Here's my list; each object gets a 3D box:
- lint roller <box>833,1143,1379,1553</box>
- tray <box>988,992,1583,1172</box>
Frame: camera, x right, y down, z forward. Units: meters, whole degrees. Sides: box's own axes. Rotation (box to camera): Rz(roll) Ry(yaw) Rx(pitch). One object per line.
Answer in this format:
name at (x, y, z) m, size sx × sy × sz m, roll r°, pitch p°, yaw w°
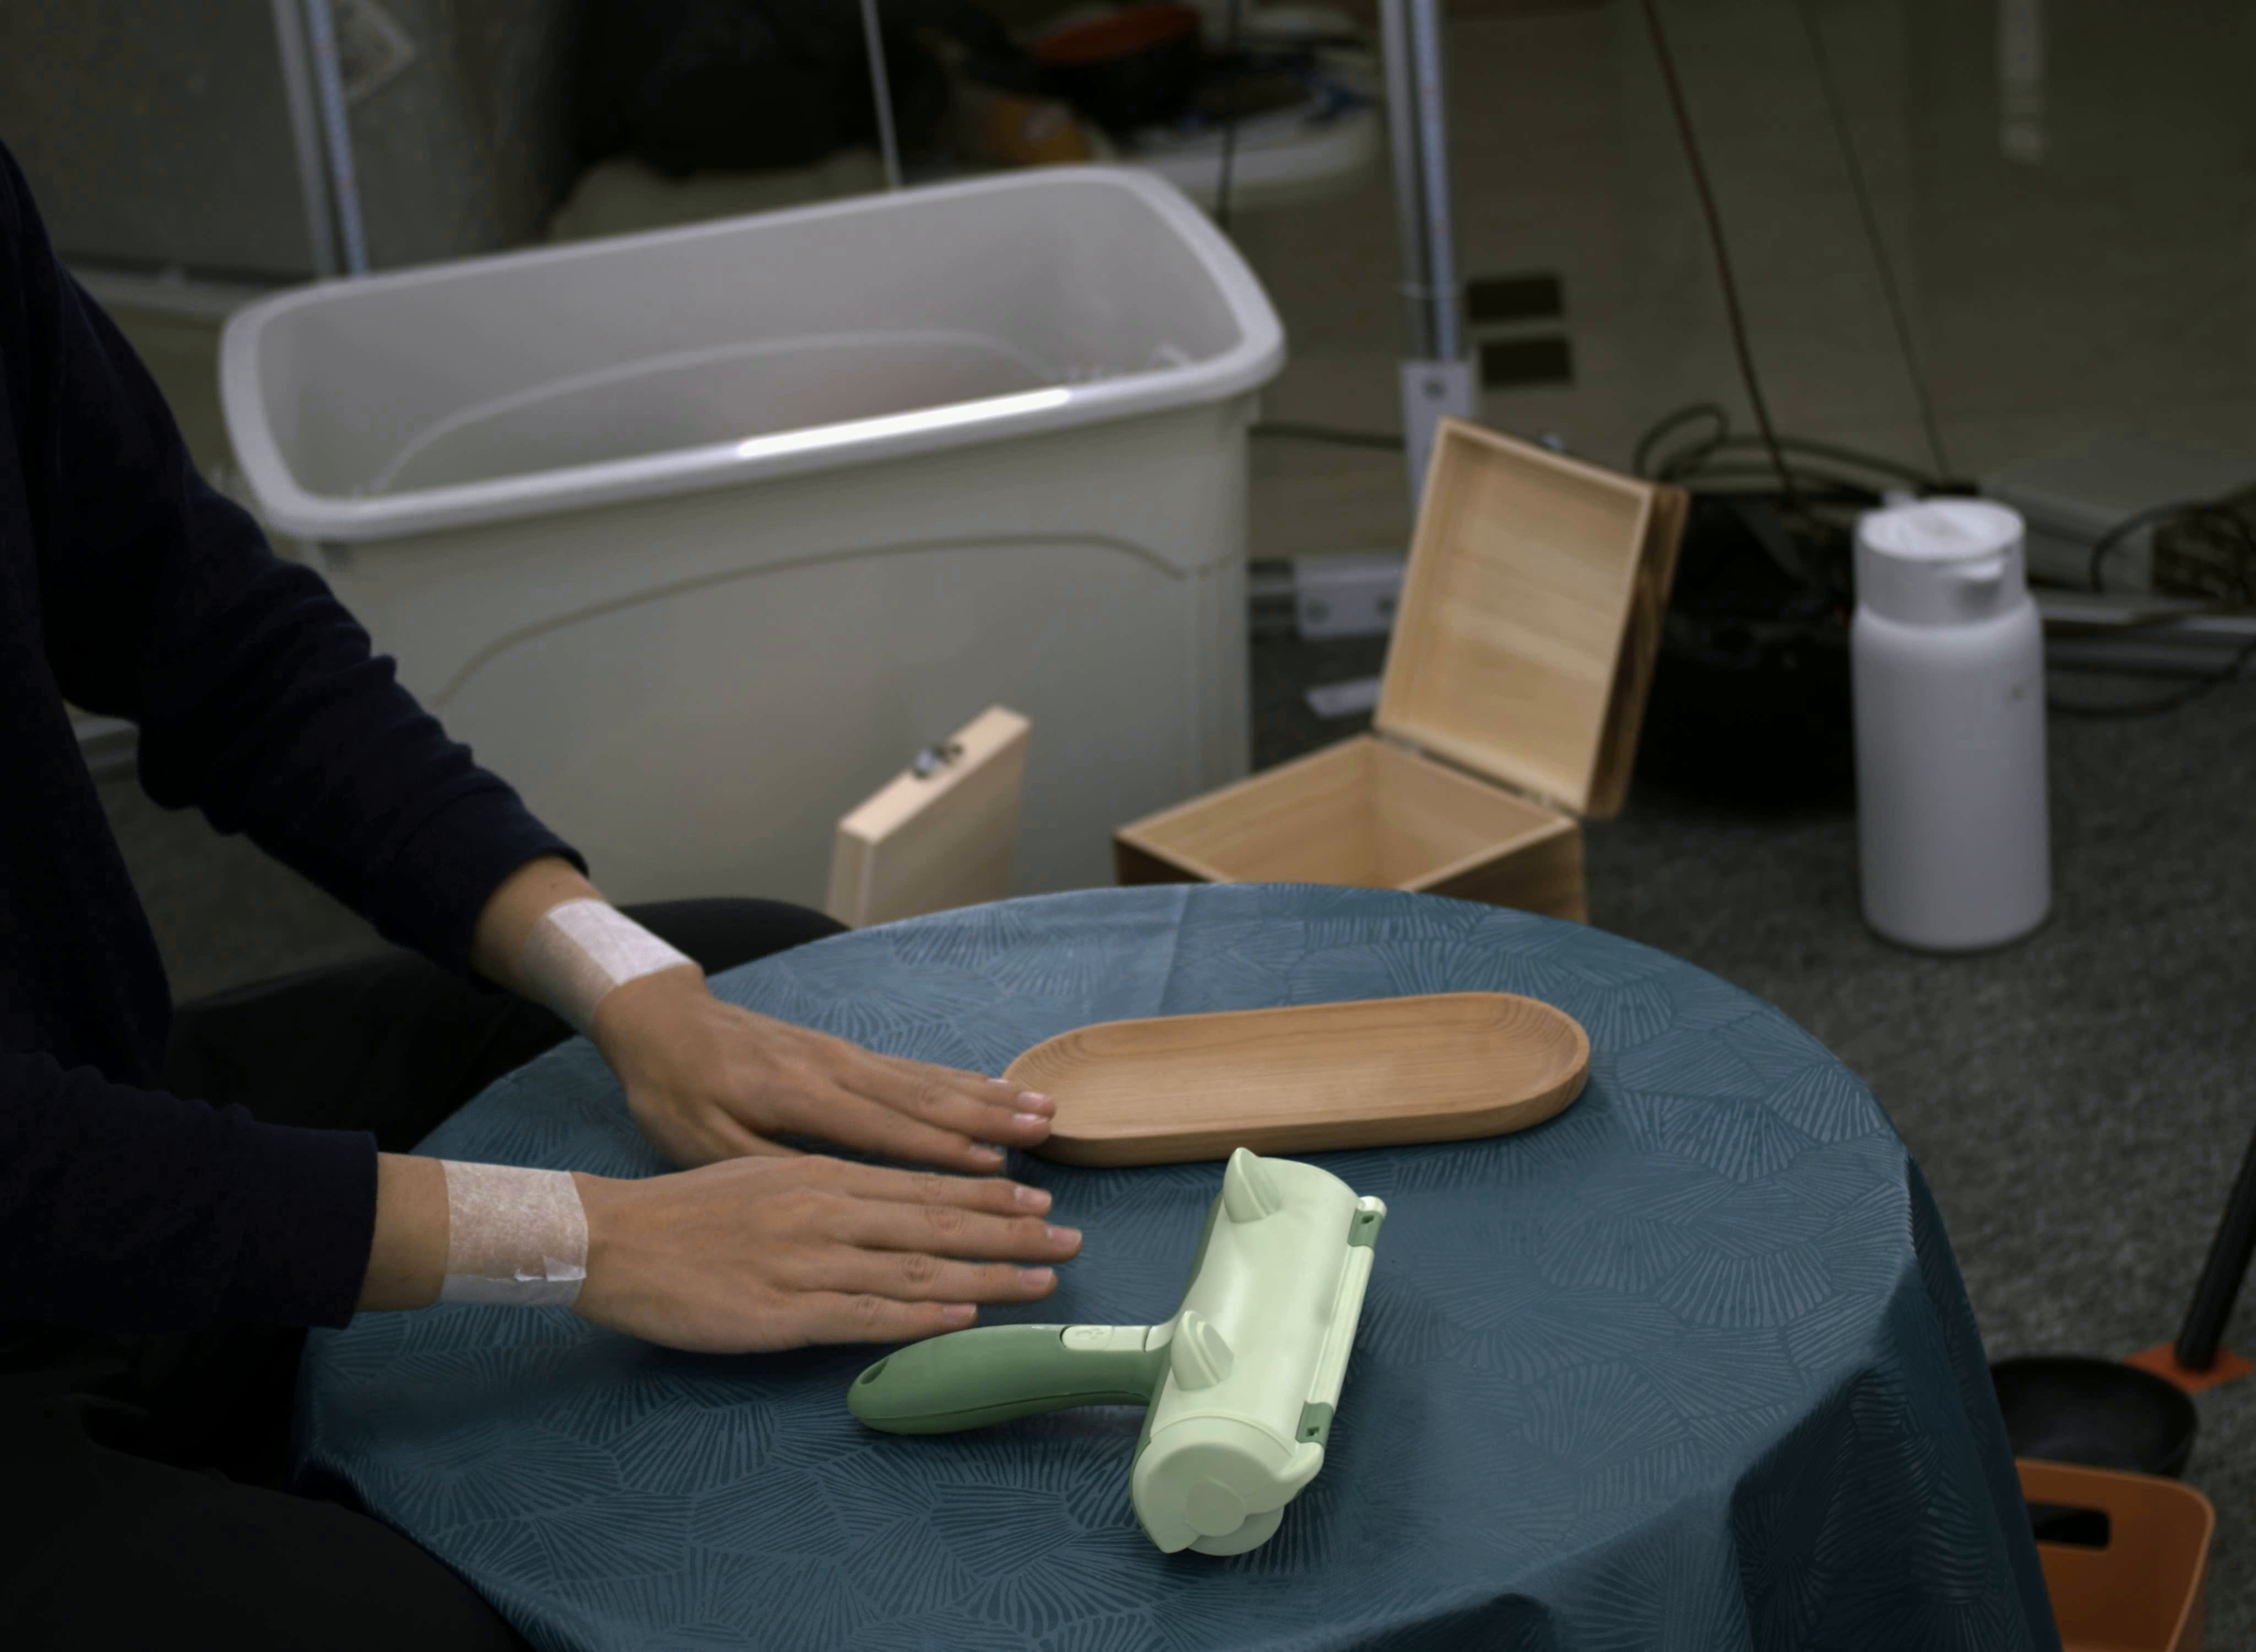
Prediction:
lint roller at (-0.014, 0.171, 1.976) m, size 0.183 × 0.083 × 0.196 m, roll 4°, pitch 26°, yaw 8°
tray at (0.061, 0.100, 2.197) m, size 0.231 × 0.020 × 0.100 m, roll -6°, pitch 24°, yaw 4°
